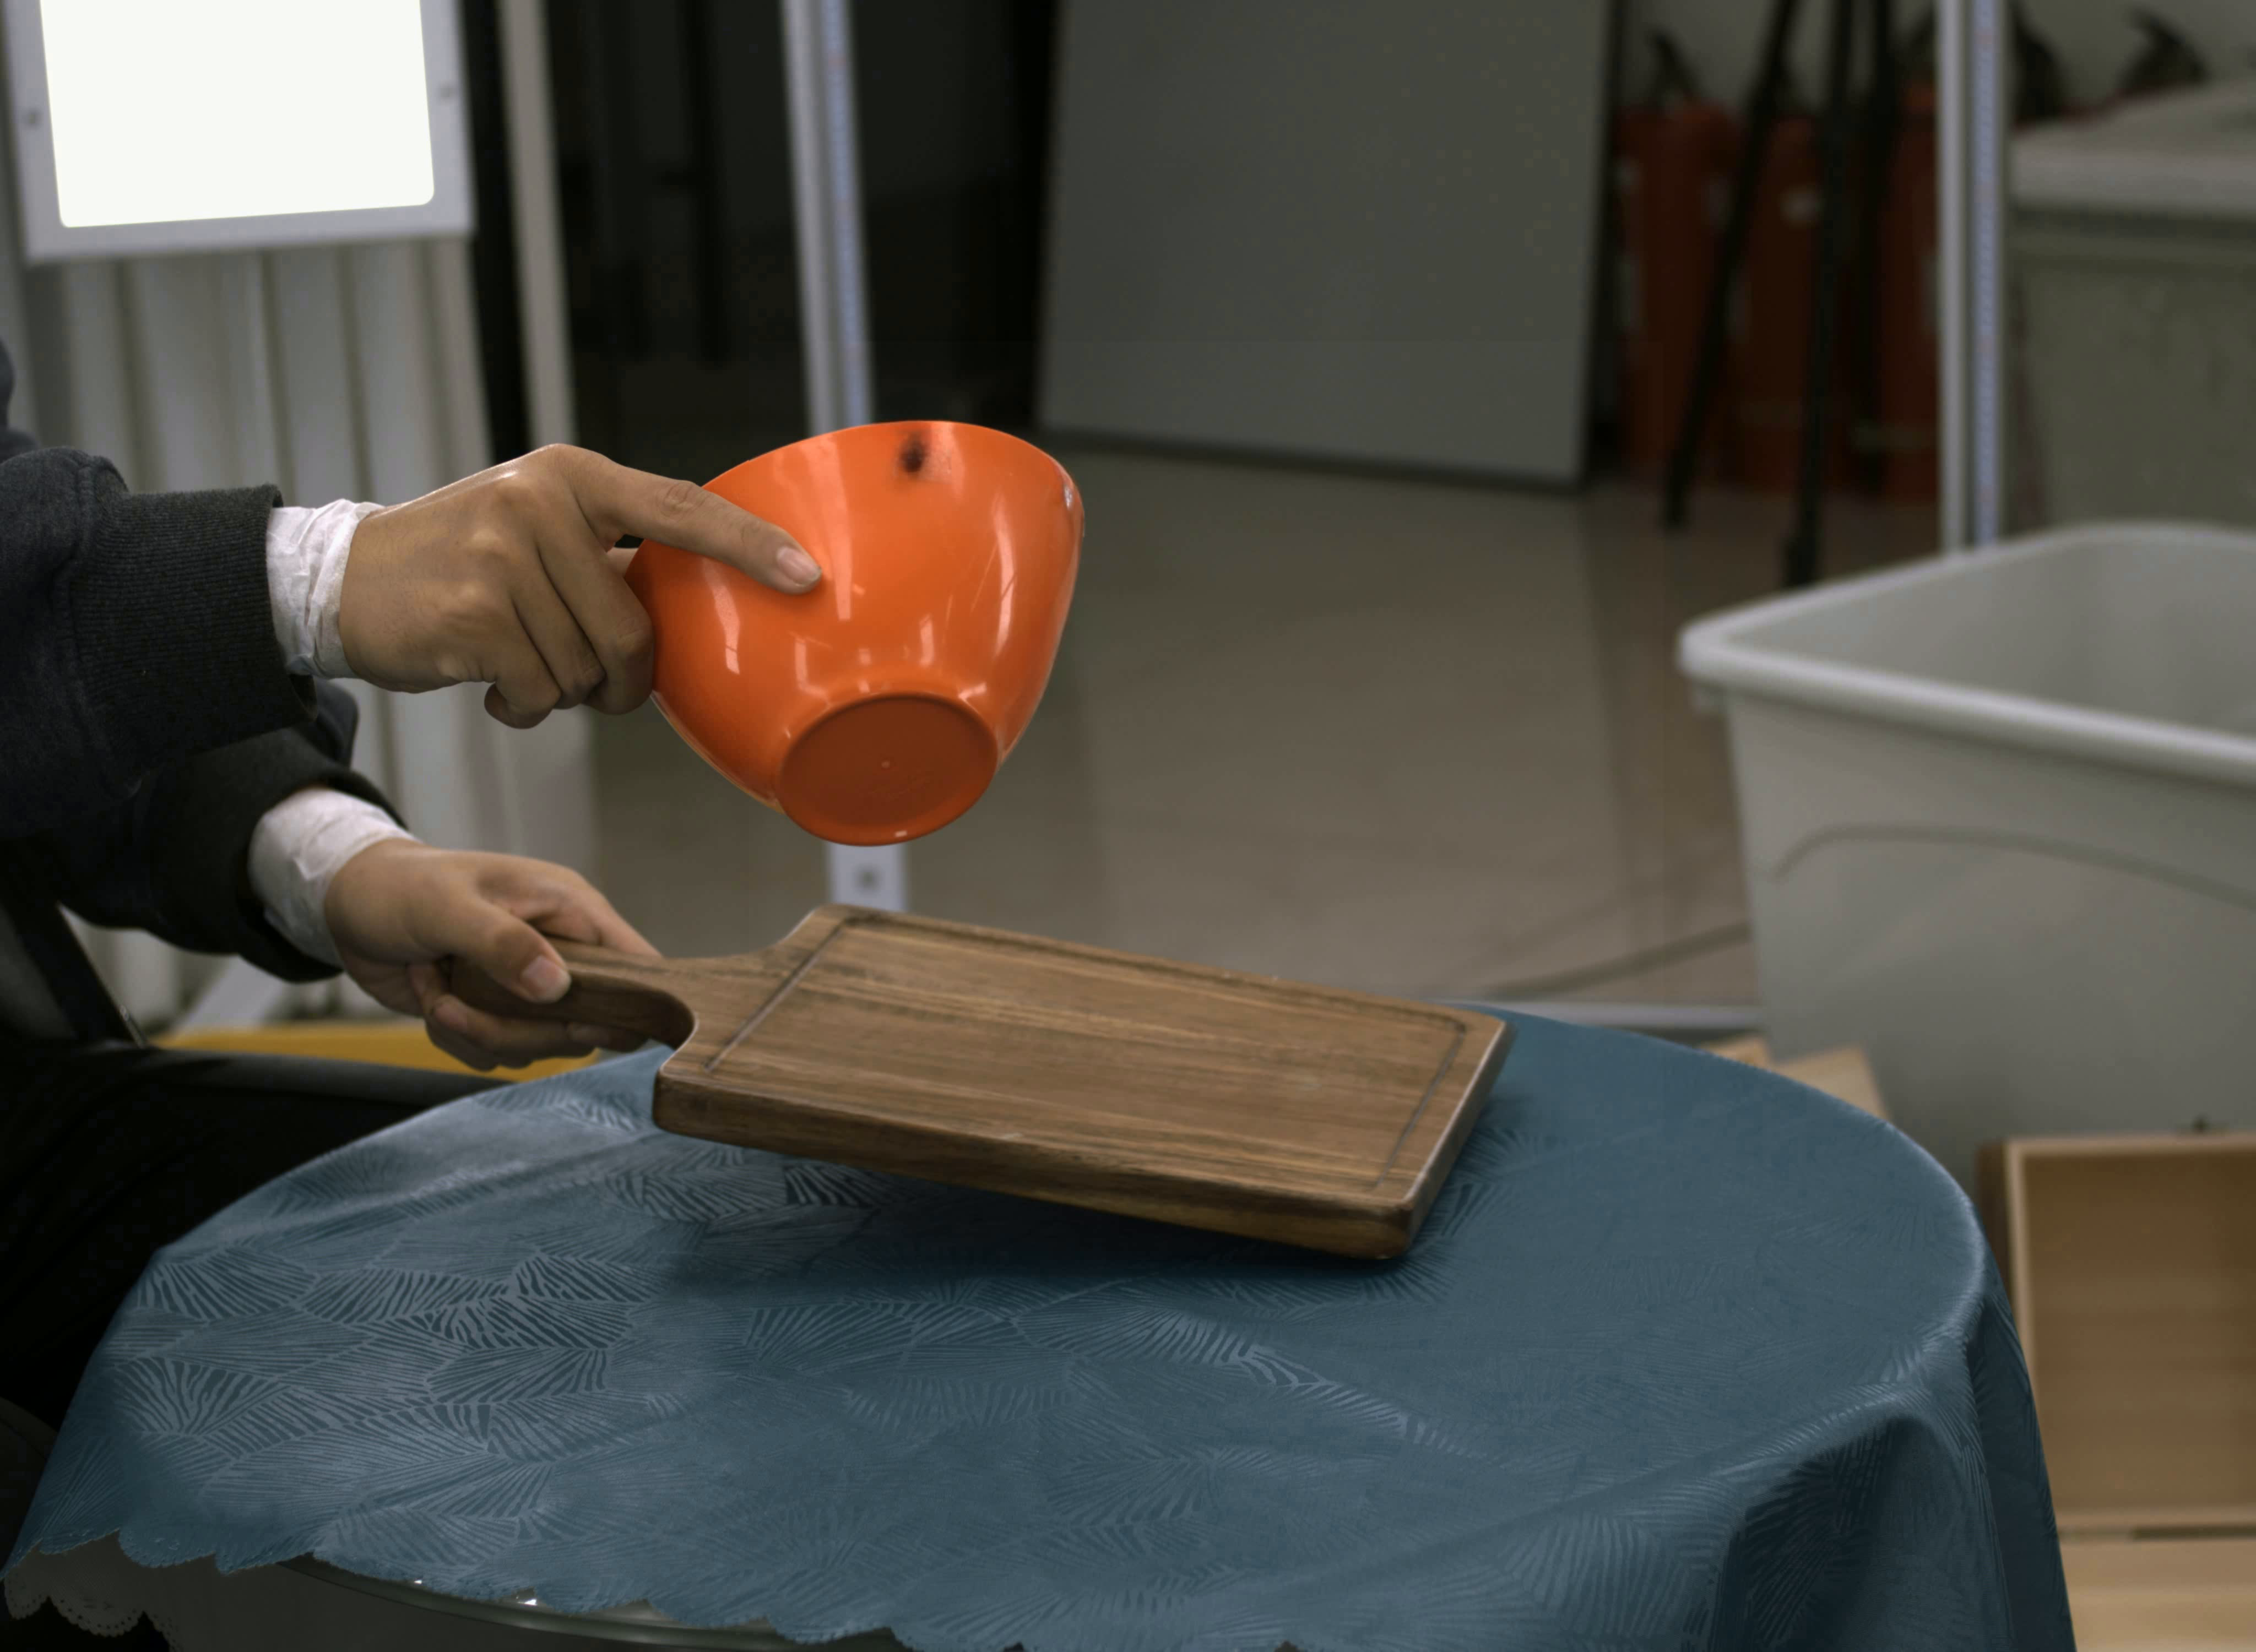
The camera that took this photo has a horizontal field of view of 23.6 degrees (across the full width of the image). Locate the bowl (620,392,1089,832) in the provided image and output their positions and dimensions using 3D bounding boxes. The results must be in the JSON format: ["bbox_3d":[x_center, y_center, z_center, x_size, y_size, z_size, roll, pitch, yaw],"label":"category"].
[{"bbox_3d":[-0.075,-0.052,1.613,0.145,0.149,0.106,-5,48,-10],"label":"bowl"}]

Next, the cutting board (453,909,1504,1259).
[{"bbox_3d":[-0.058,0.074,1.795,0.350,0.023,0.200,9,18,13],"label":"cutting board"}]
